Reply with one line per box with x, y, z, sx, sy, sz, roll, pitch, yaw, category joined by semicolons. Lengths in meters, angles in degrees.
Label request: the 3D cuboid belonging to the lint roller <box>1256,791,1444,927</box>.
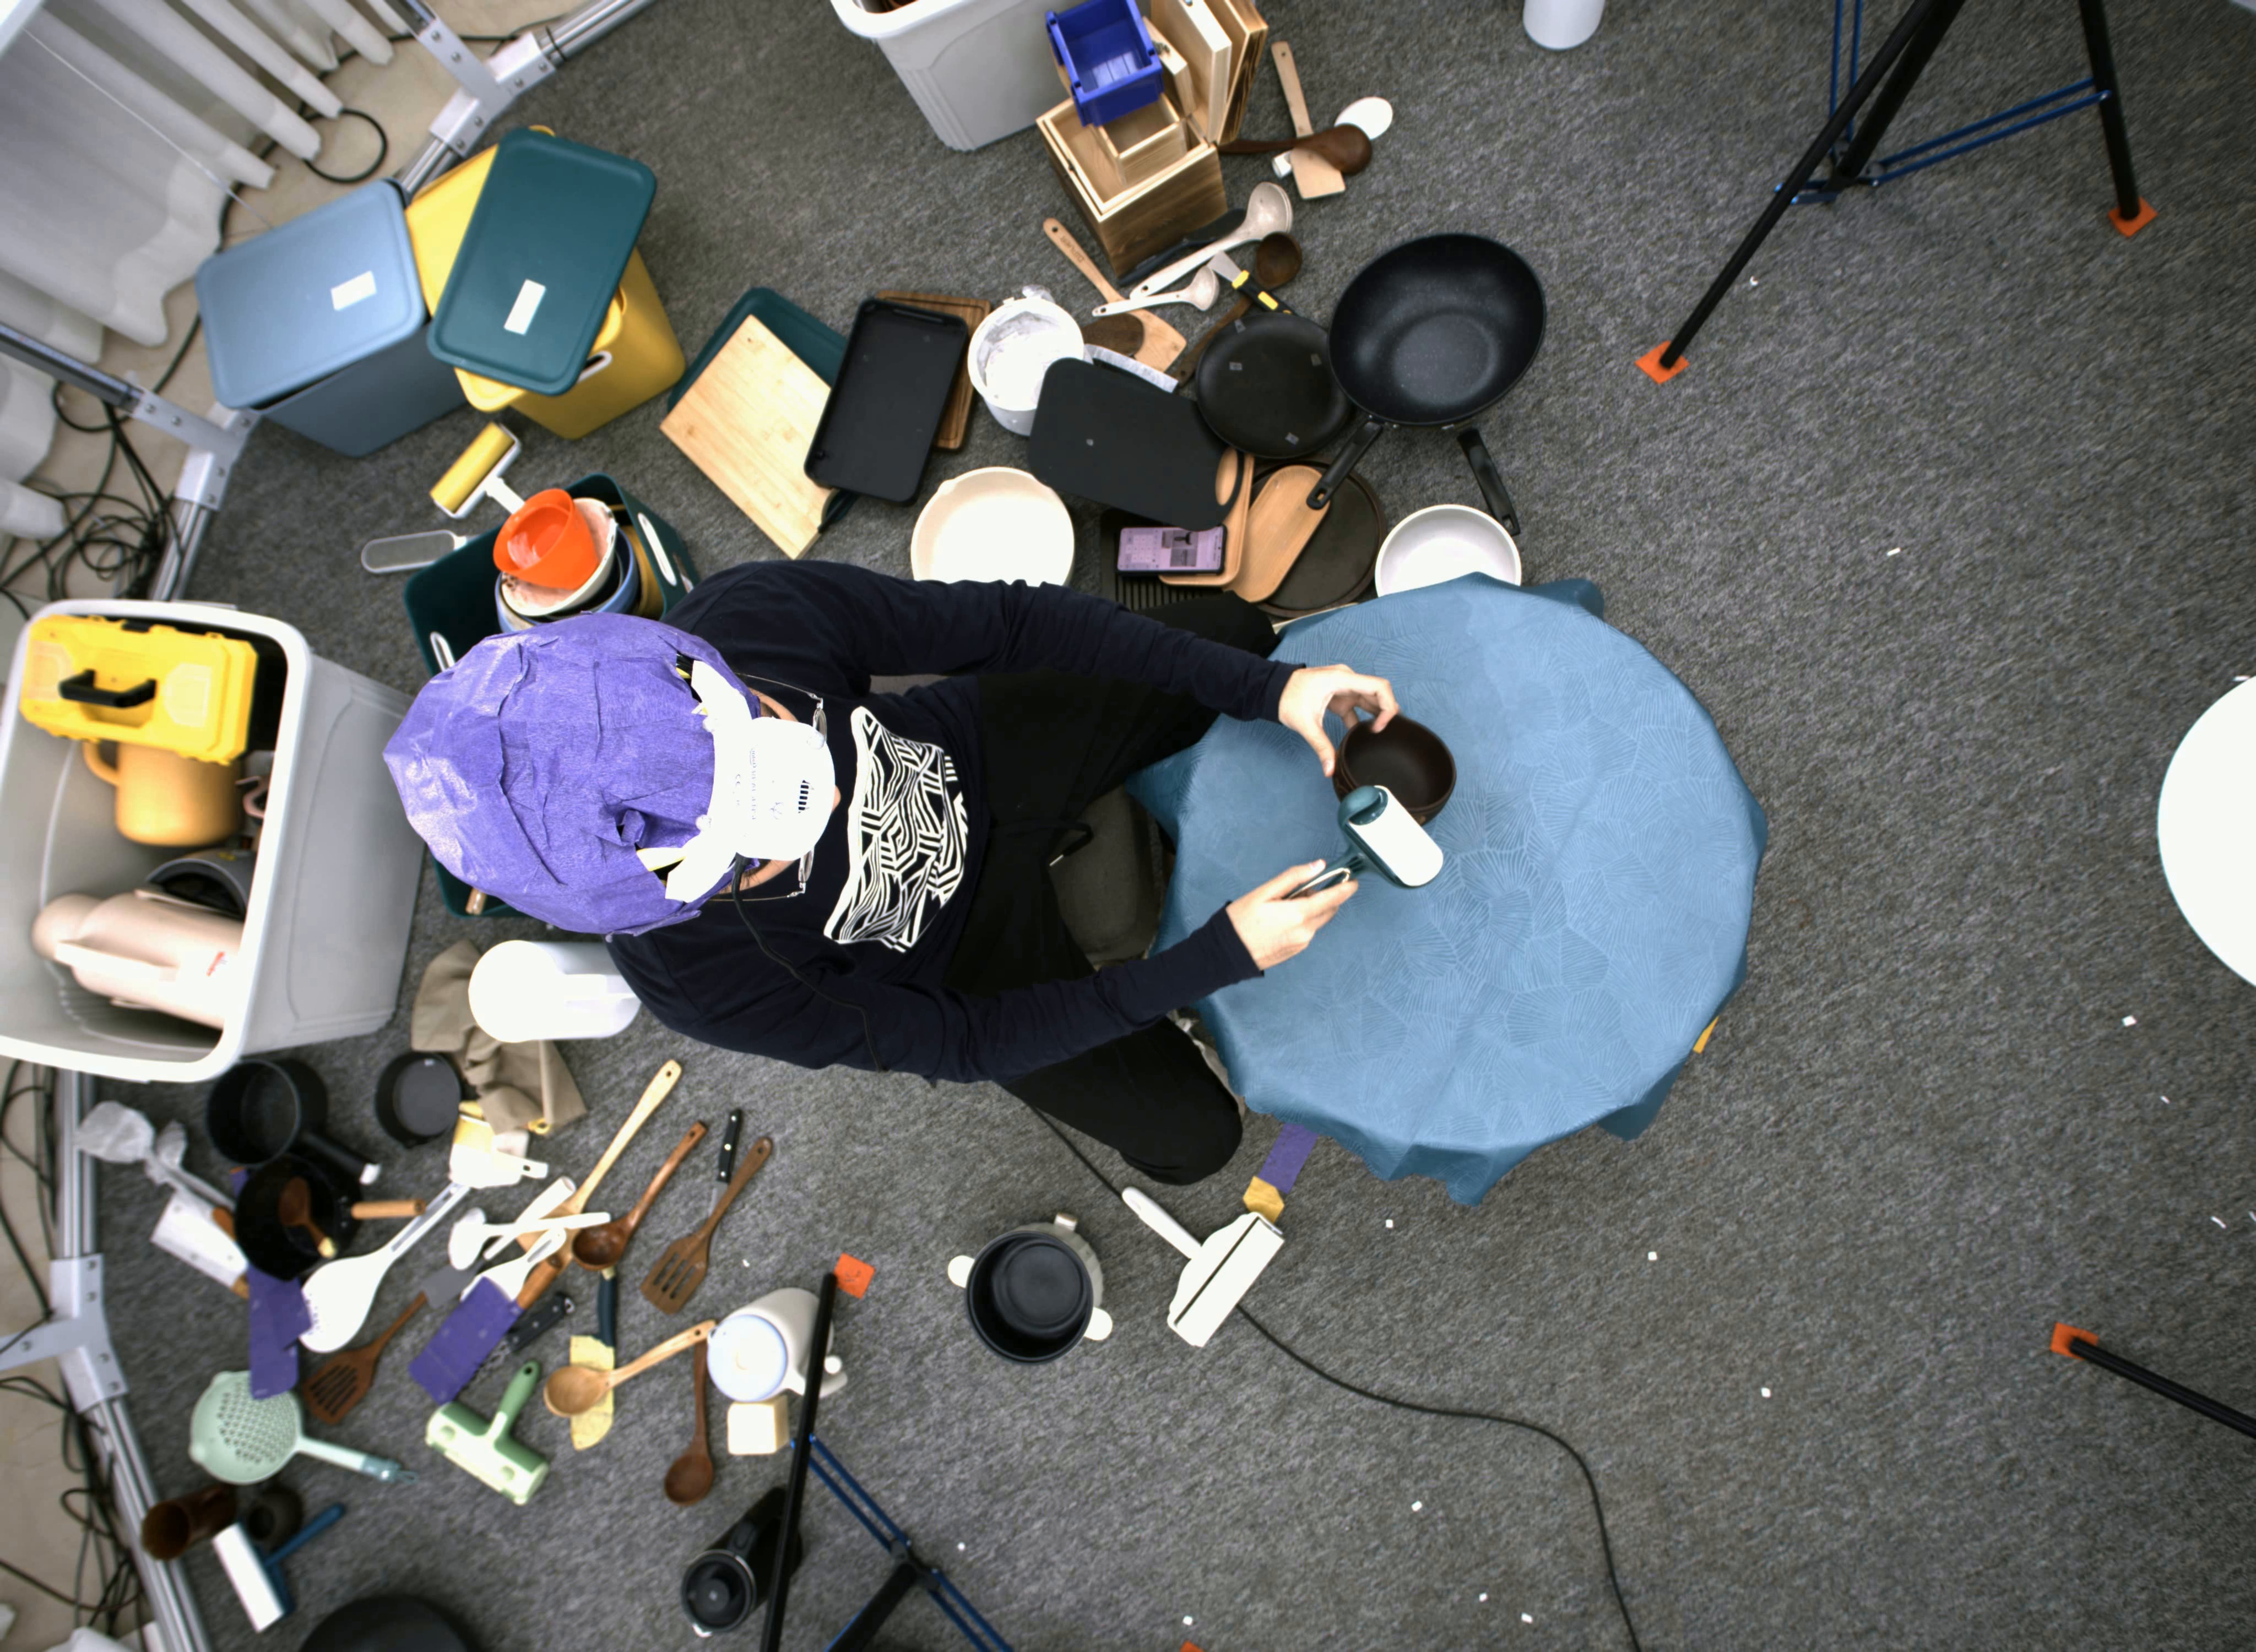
0.198;0.052;1.299;0.182;0.136;0.047;-38;38;16;lint roller

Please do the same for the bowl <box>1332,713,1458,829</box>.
0.256;-0.046;1.343;0.118;0.071;0.115;3;60;-5;bowl
